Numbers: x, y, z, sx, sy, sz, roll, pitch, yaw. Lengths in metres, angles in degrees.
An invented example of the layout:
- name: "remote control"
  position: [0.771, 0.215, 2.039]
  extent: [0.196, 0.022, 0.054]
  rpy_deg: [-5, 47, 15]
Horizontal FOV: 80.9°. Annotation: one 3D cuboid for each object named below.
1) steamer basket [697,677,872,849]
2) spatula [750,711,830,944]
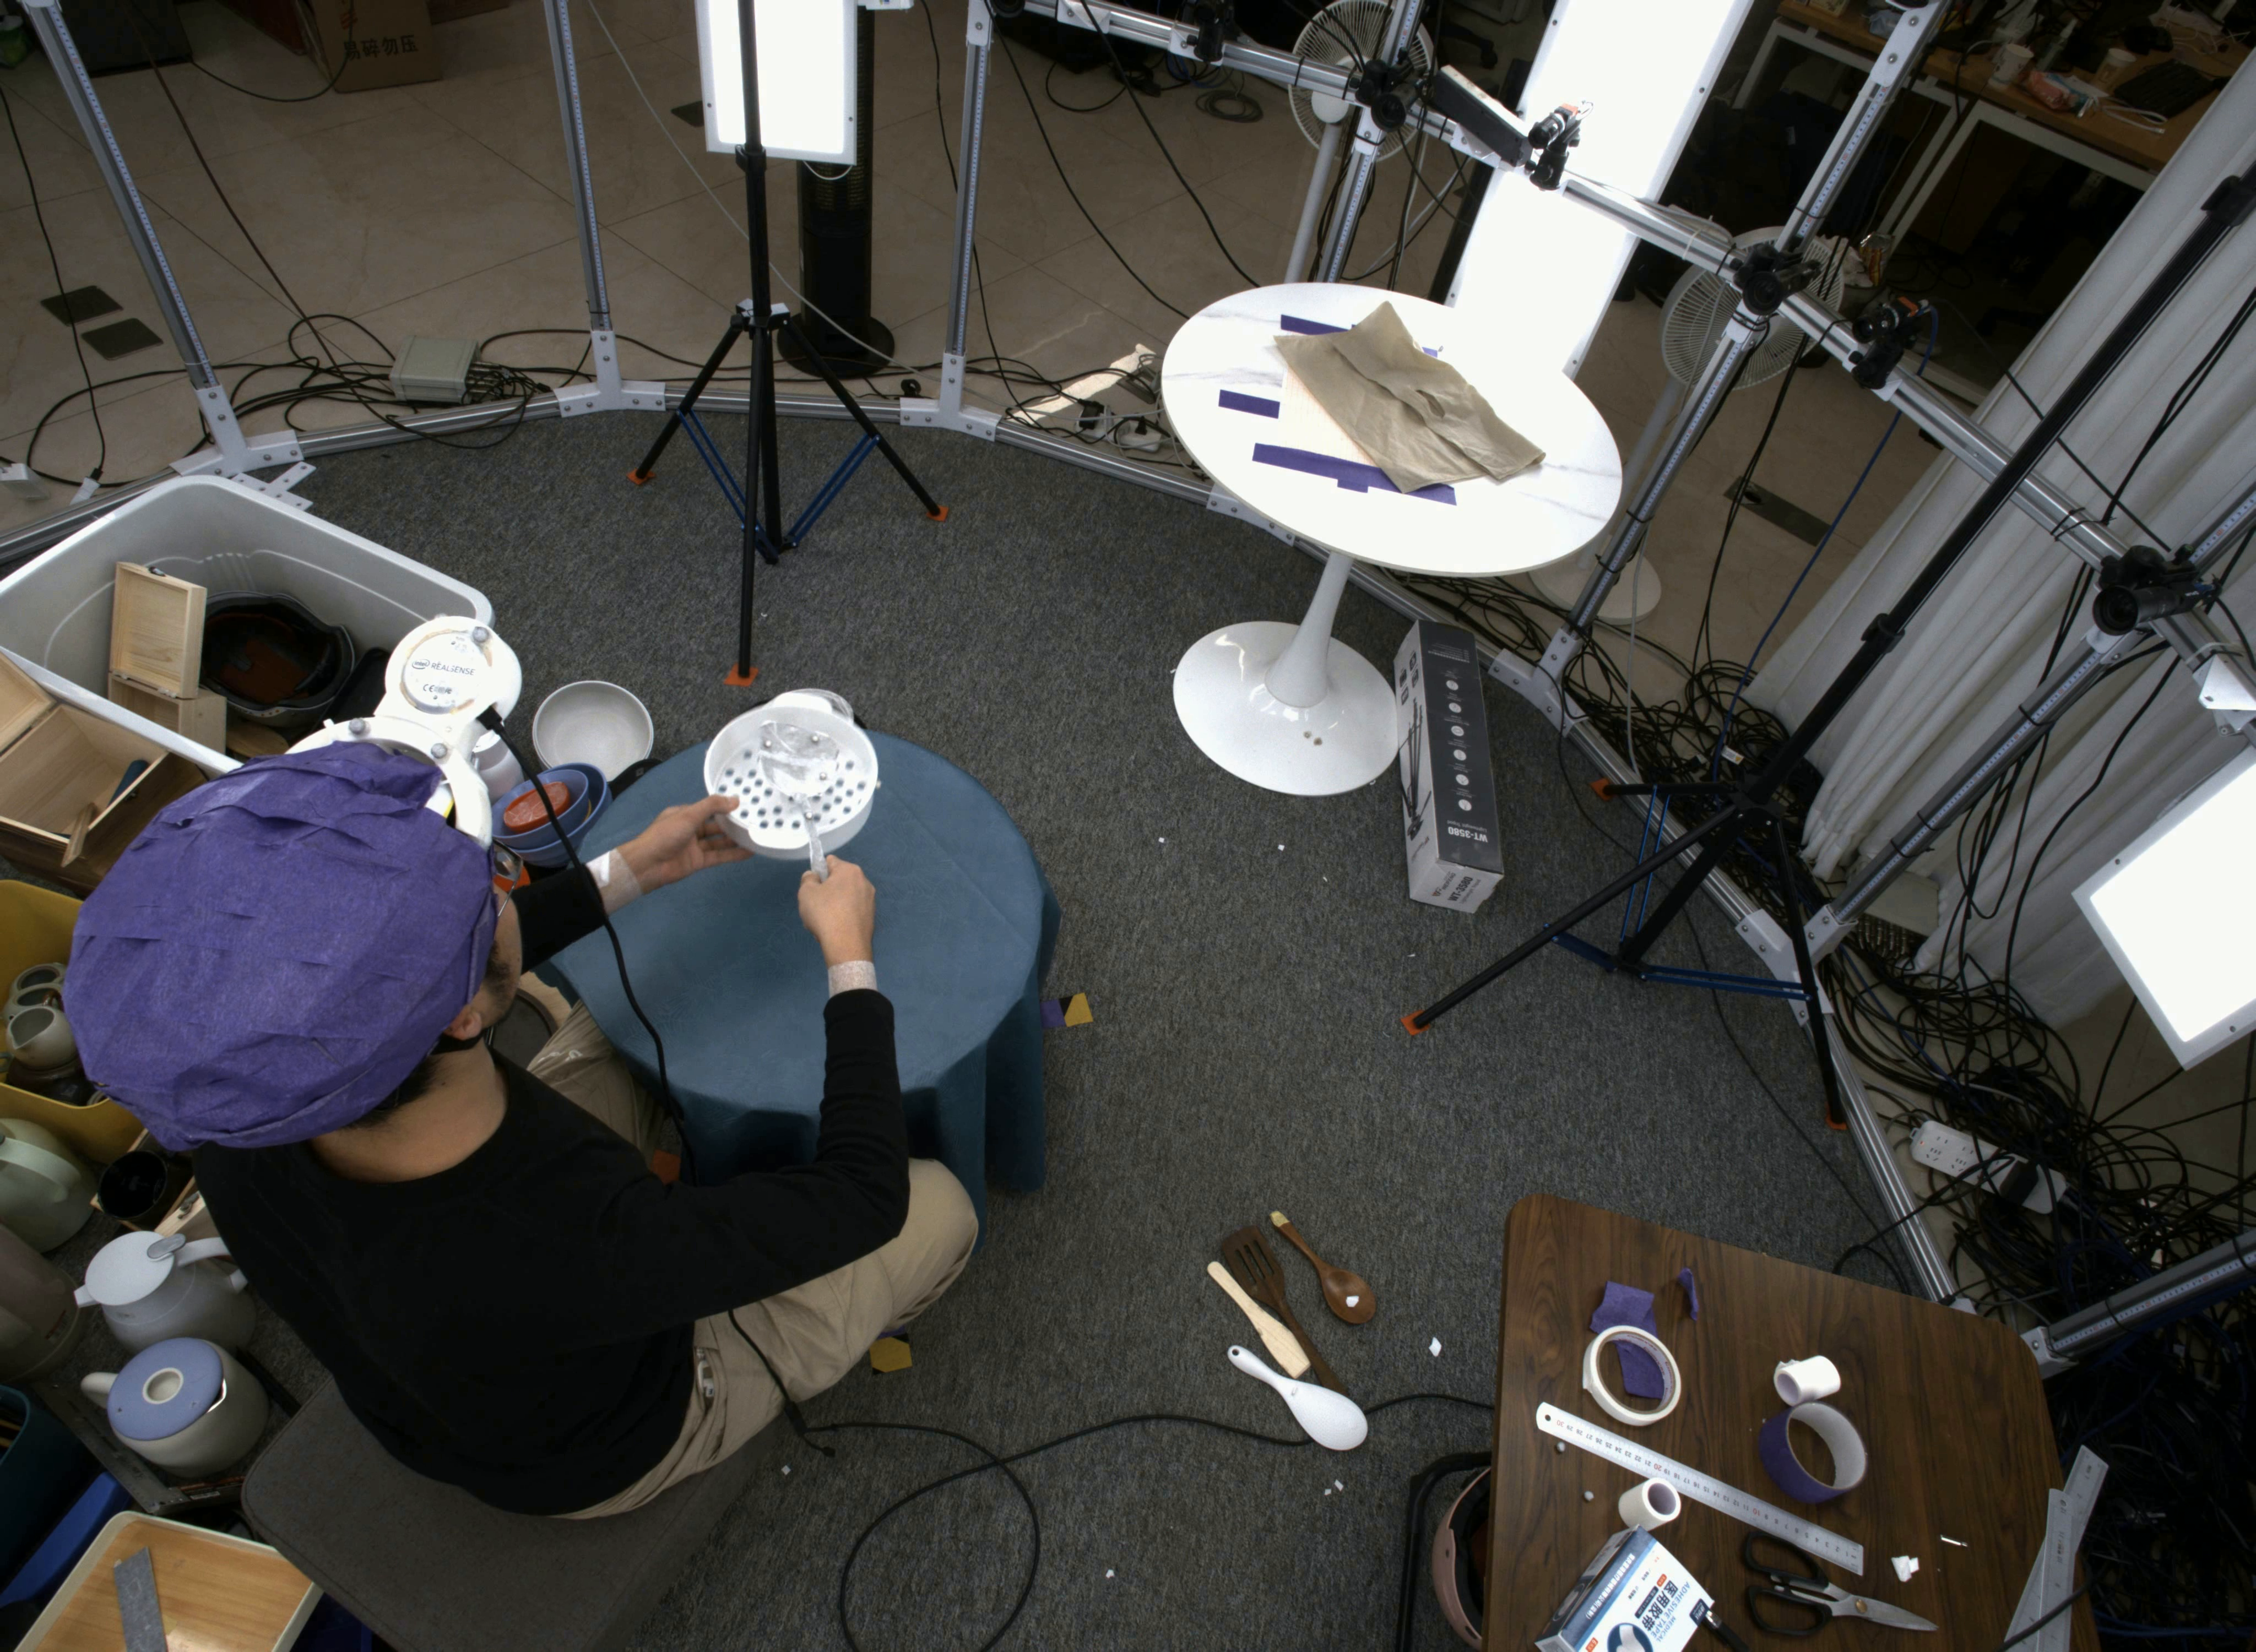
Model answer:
- name: "steamer basket"
  position: [-0.407, -0.068, 1.542]
  extent: [0.201, 0.070, 0.227]
  rpy_deg: [6, 58, -9]
- name: "spatula"
  position: [-0.355, -0.006, 1.416]
  extent: [0.101, 0.045, 0.353]
  rpy_deg: [16, 30, -33]
